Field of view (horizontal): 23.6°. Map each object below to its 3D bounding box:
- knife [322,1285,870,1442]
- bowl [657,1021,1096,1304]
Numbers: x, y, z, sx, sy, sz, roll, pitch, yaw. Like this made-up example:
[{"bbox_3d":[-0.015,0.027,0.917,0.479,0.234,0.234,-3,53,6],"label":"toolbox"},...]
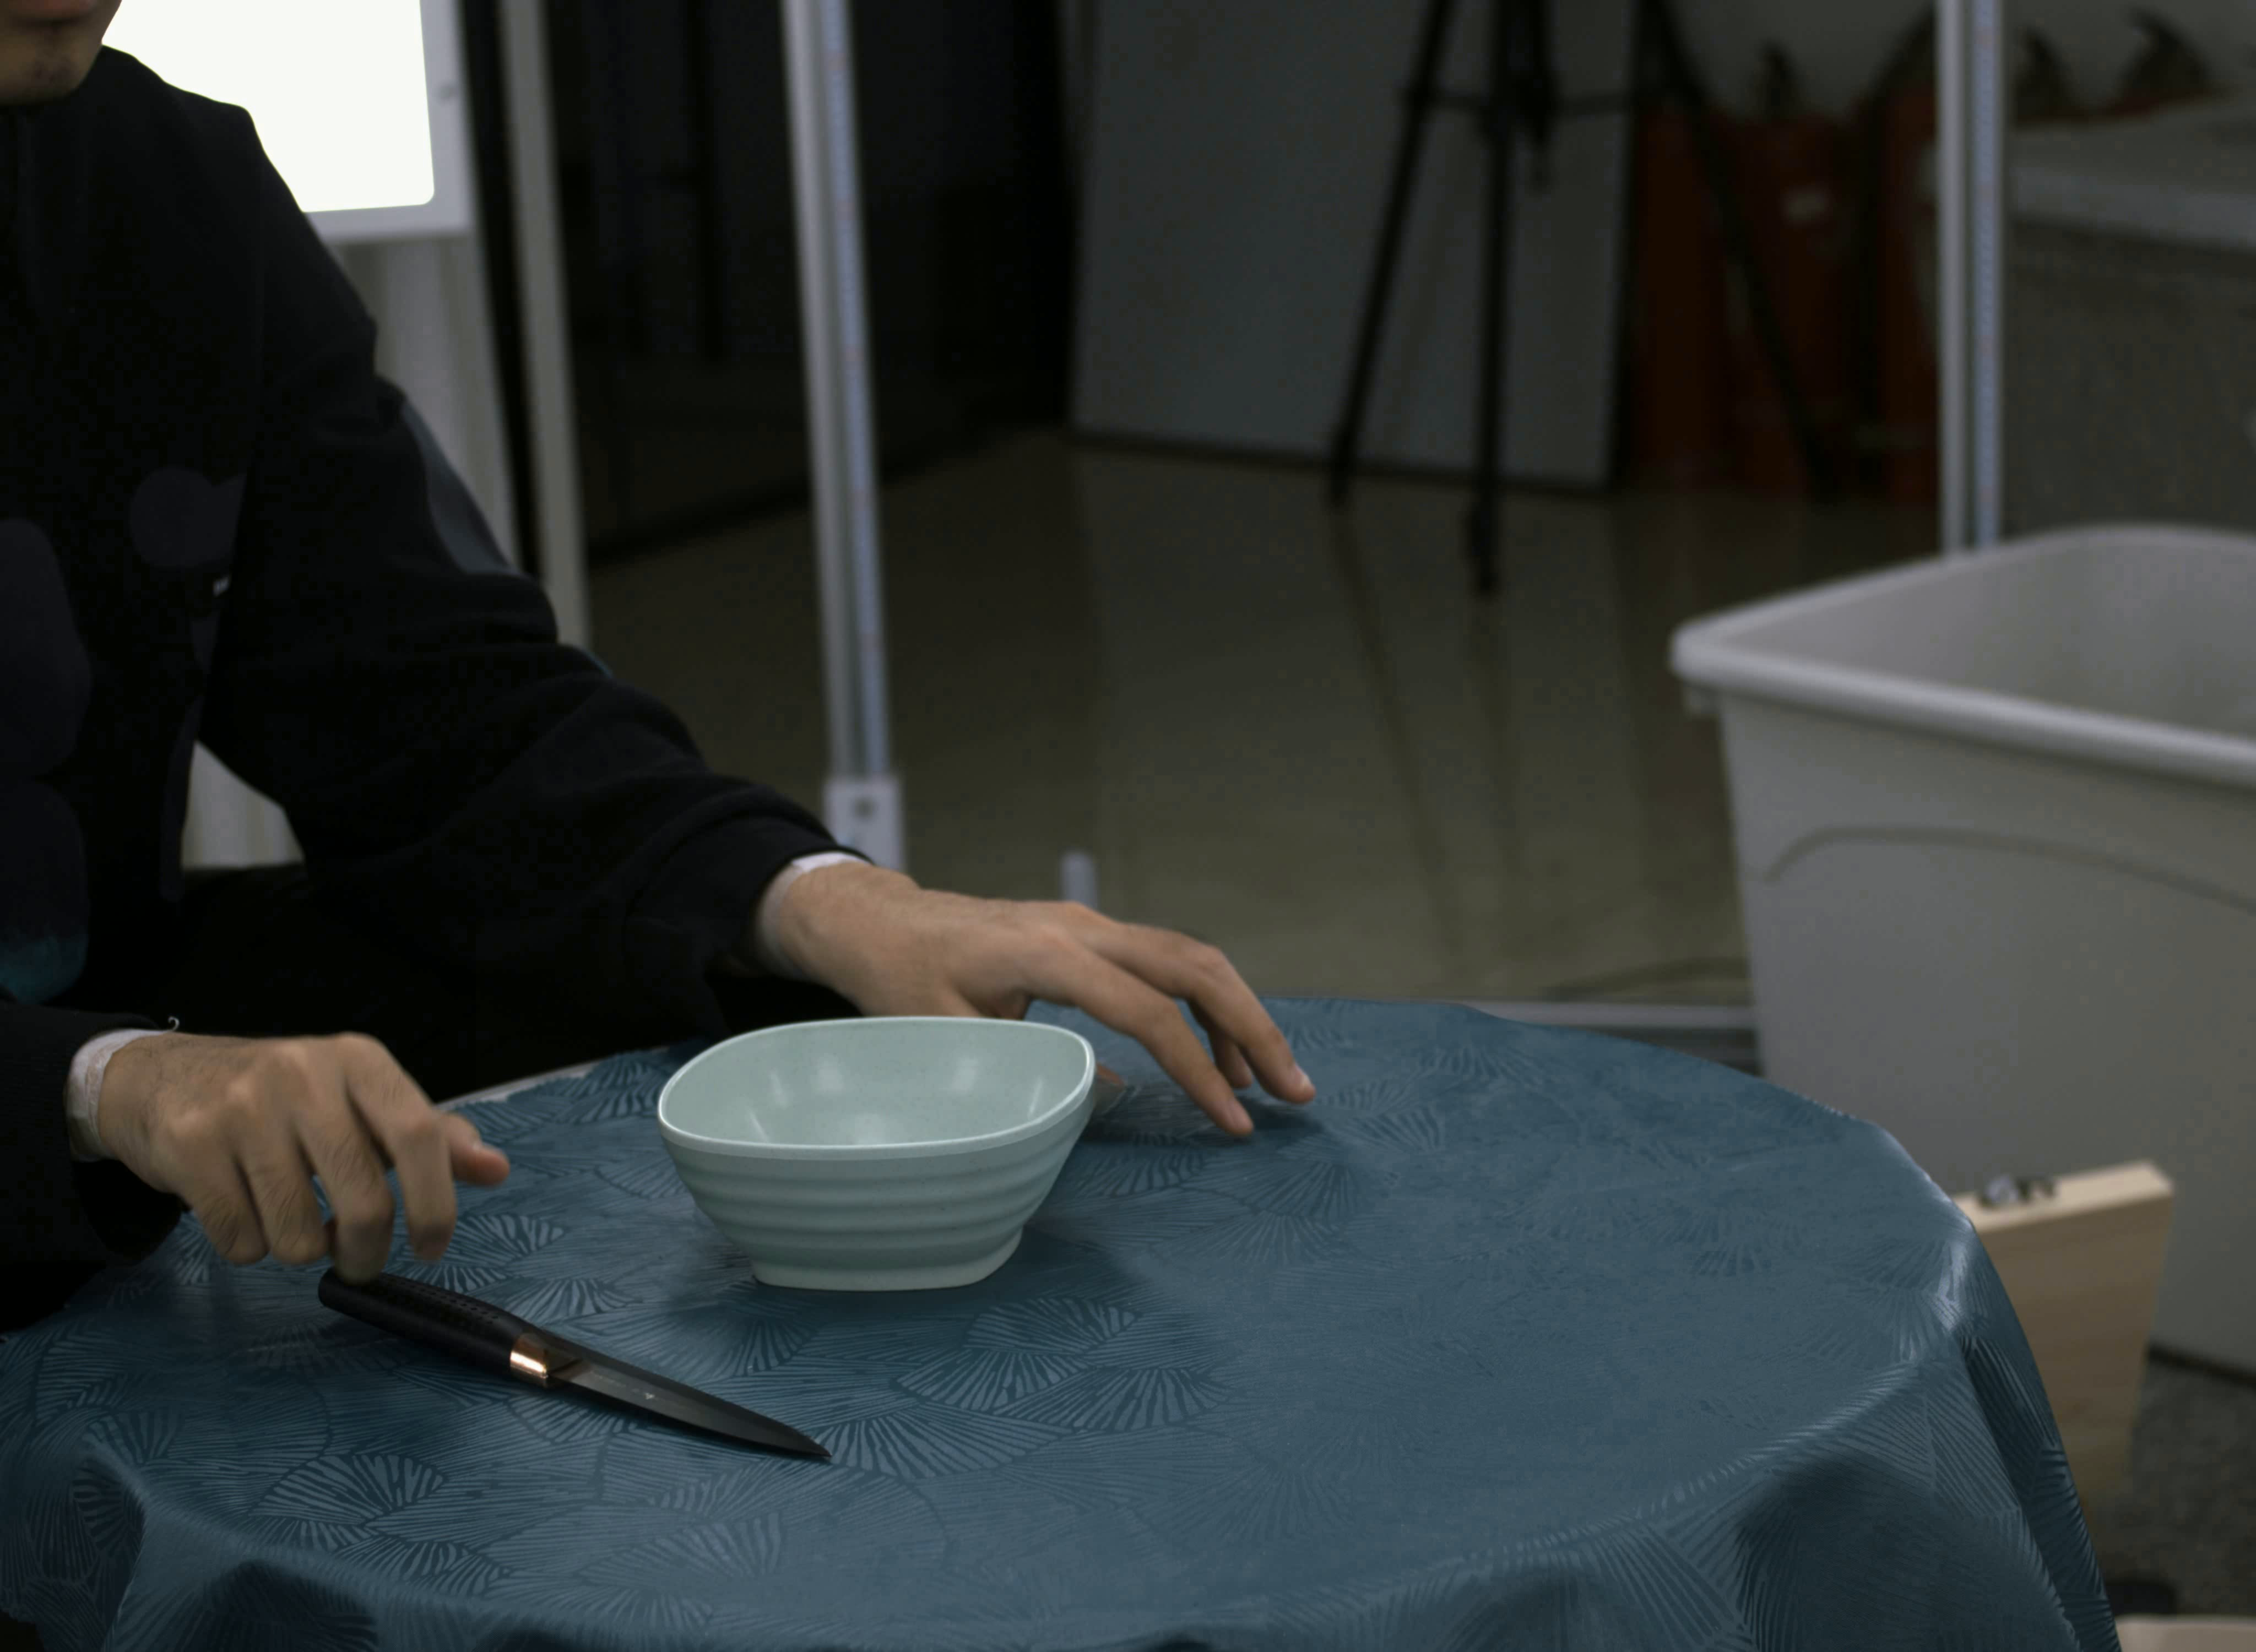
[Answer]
[{"bbox_3d":[-0.162,0.164,1.622,0.227,0.017,0.026,9,21,41],"label":"knife"},{"bbox_3d":[-0.077,0.111,1.723,0.149,0.059,0.152,-5,15,0],"label":"bowl"}]
